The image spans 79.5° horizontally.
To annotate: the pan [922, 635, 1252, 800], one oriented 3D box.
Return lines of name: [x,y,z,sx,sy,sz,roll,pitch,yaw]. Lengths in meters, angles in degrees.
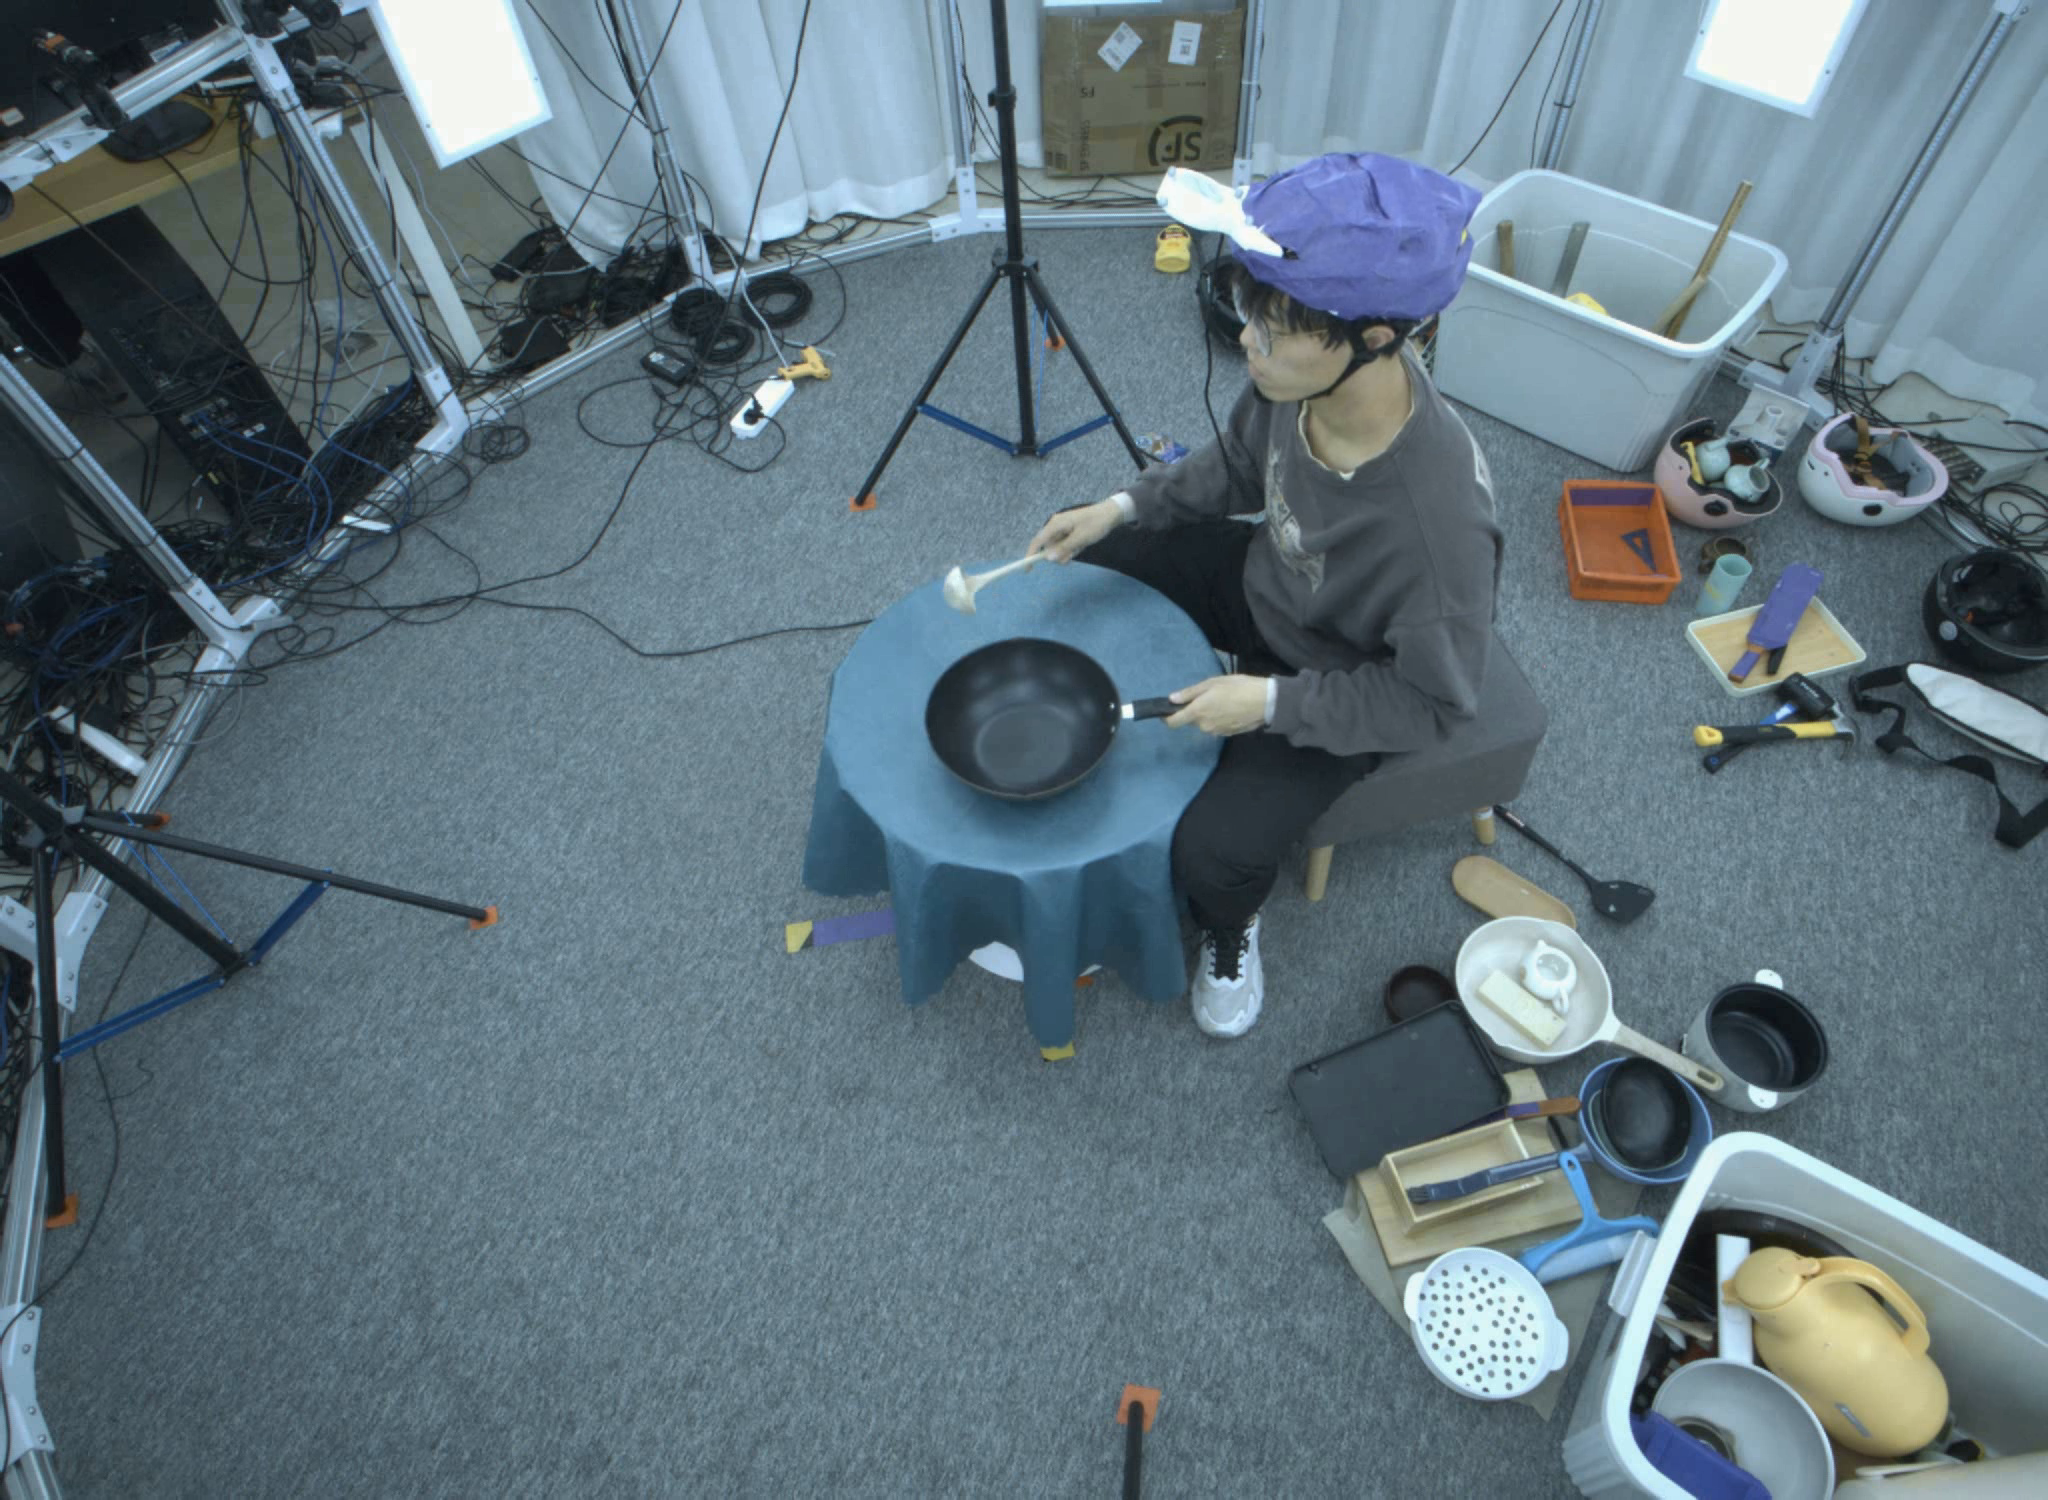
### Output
pan: [0.090,-0.037,1.757,0.464,0.088,0.285,-2,54,0]

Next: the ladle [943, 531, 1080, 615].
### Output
ladle: [-0.006,-0.278,1.839,0.257,0.071,0.072,-29,102,-20]
